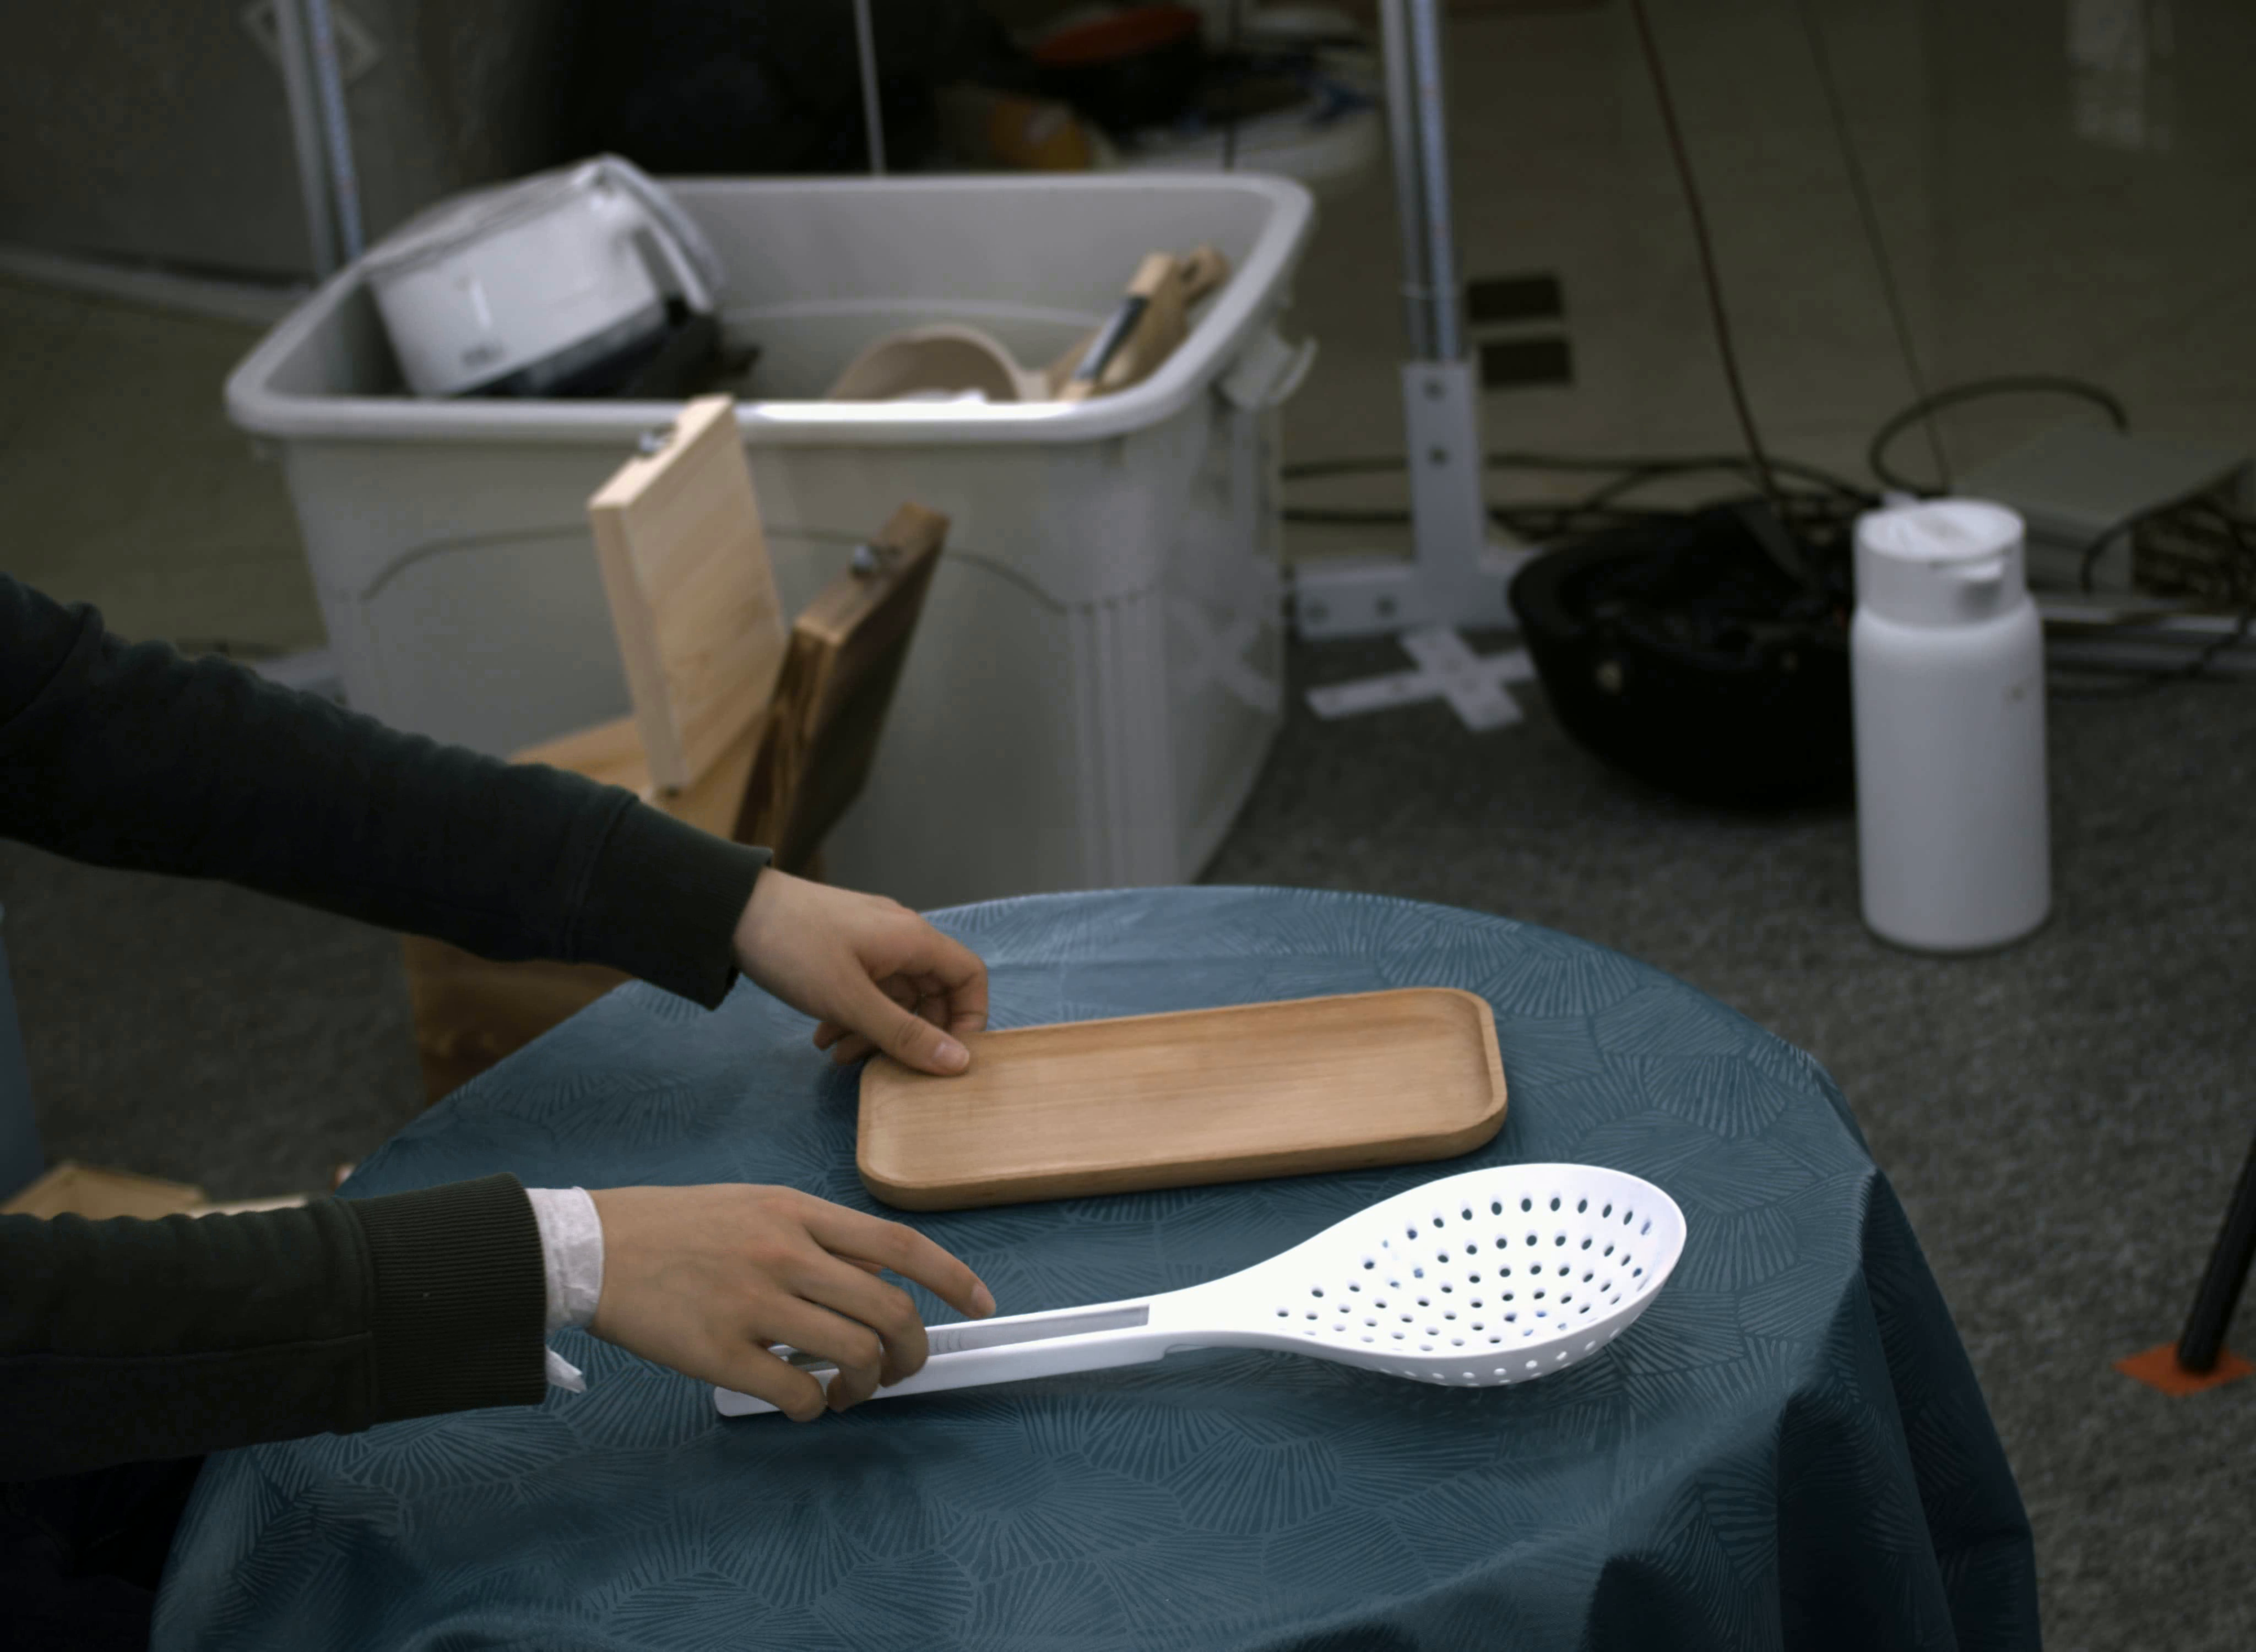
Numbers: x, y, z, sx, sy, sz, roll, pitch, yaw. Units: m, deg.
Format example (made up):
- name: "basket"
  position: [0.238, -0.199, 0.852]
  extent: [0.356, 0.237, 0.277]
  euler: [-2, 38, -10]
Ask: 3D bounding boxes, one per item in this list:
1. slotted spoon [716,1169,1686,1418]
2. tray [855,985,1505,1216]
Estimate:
- name: "slotted spoon"
  position: [0.024, 0.176, 2.014]
  extent: [0.349, 0.046, 0.134]
  euler: [-5, 23, 6]
- name: "tray"
  position: [0.019, 0.106, 2.199]
  extent: [0.250, 0.023, 0.129]
  euler: [-6, 23, 2]
